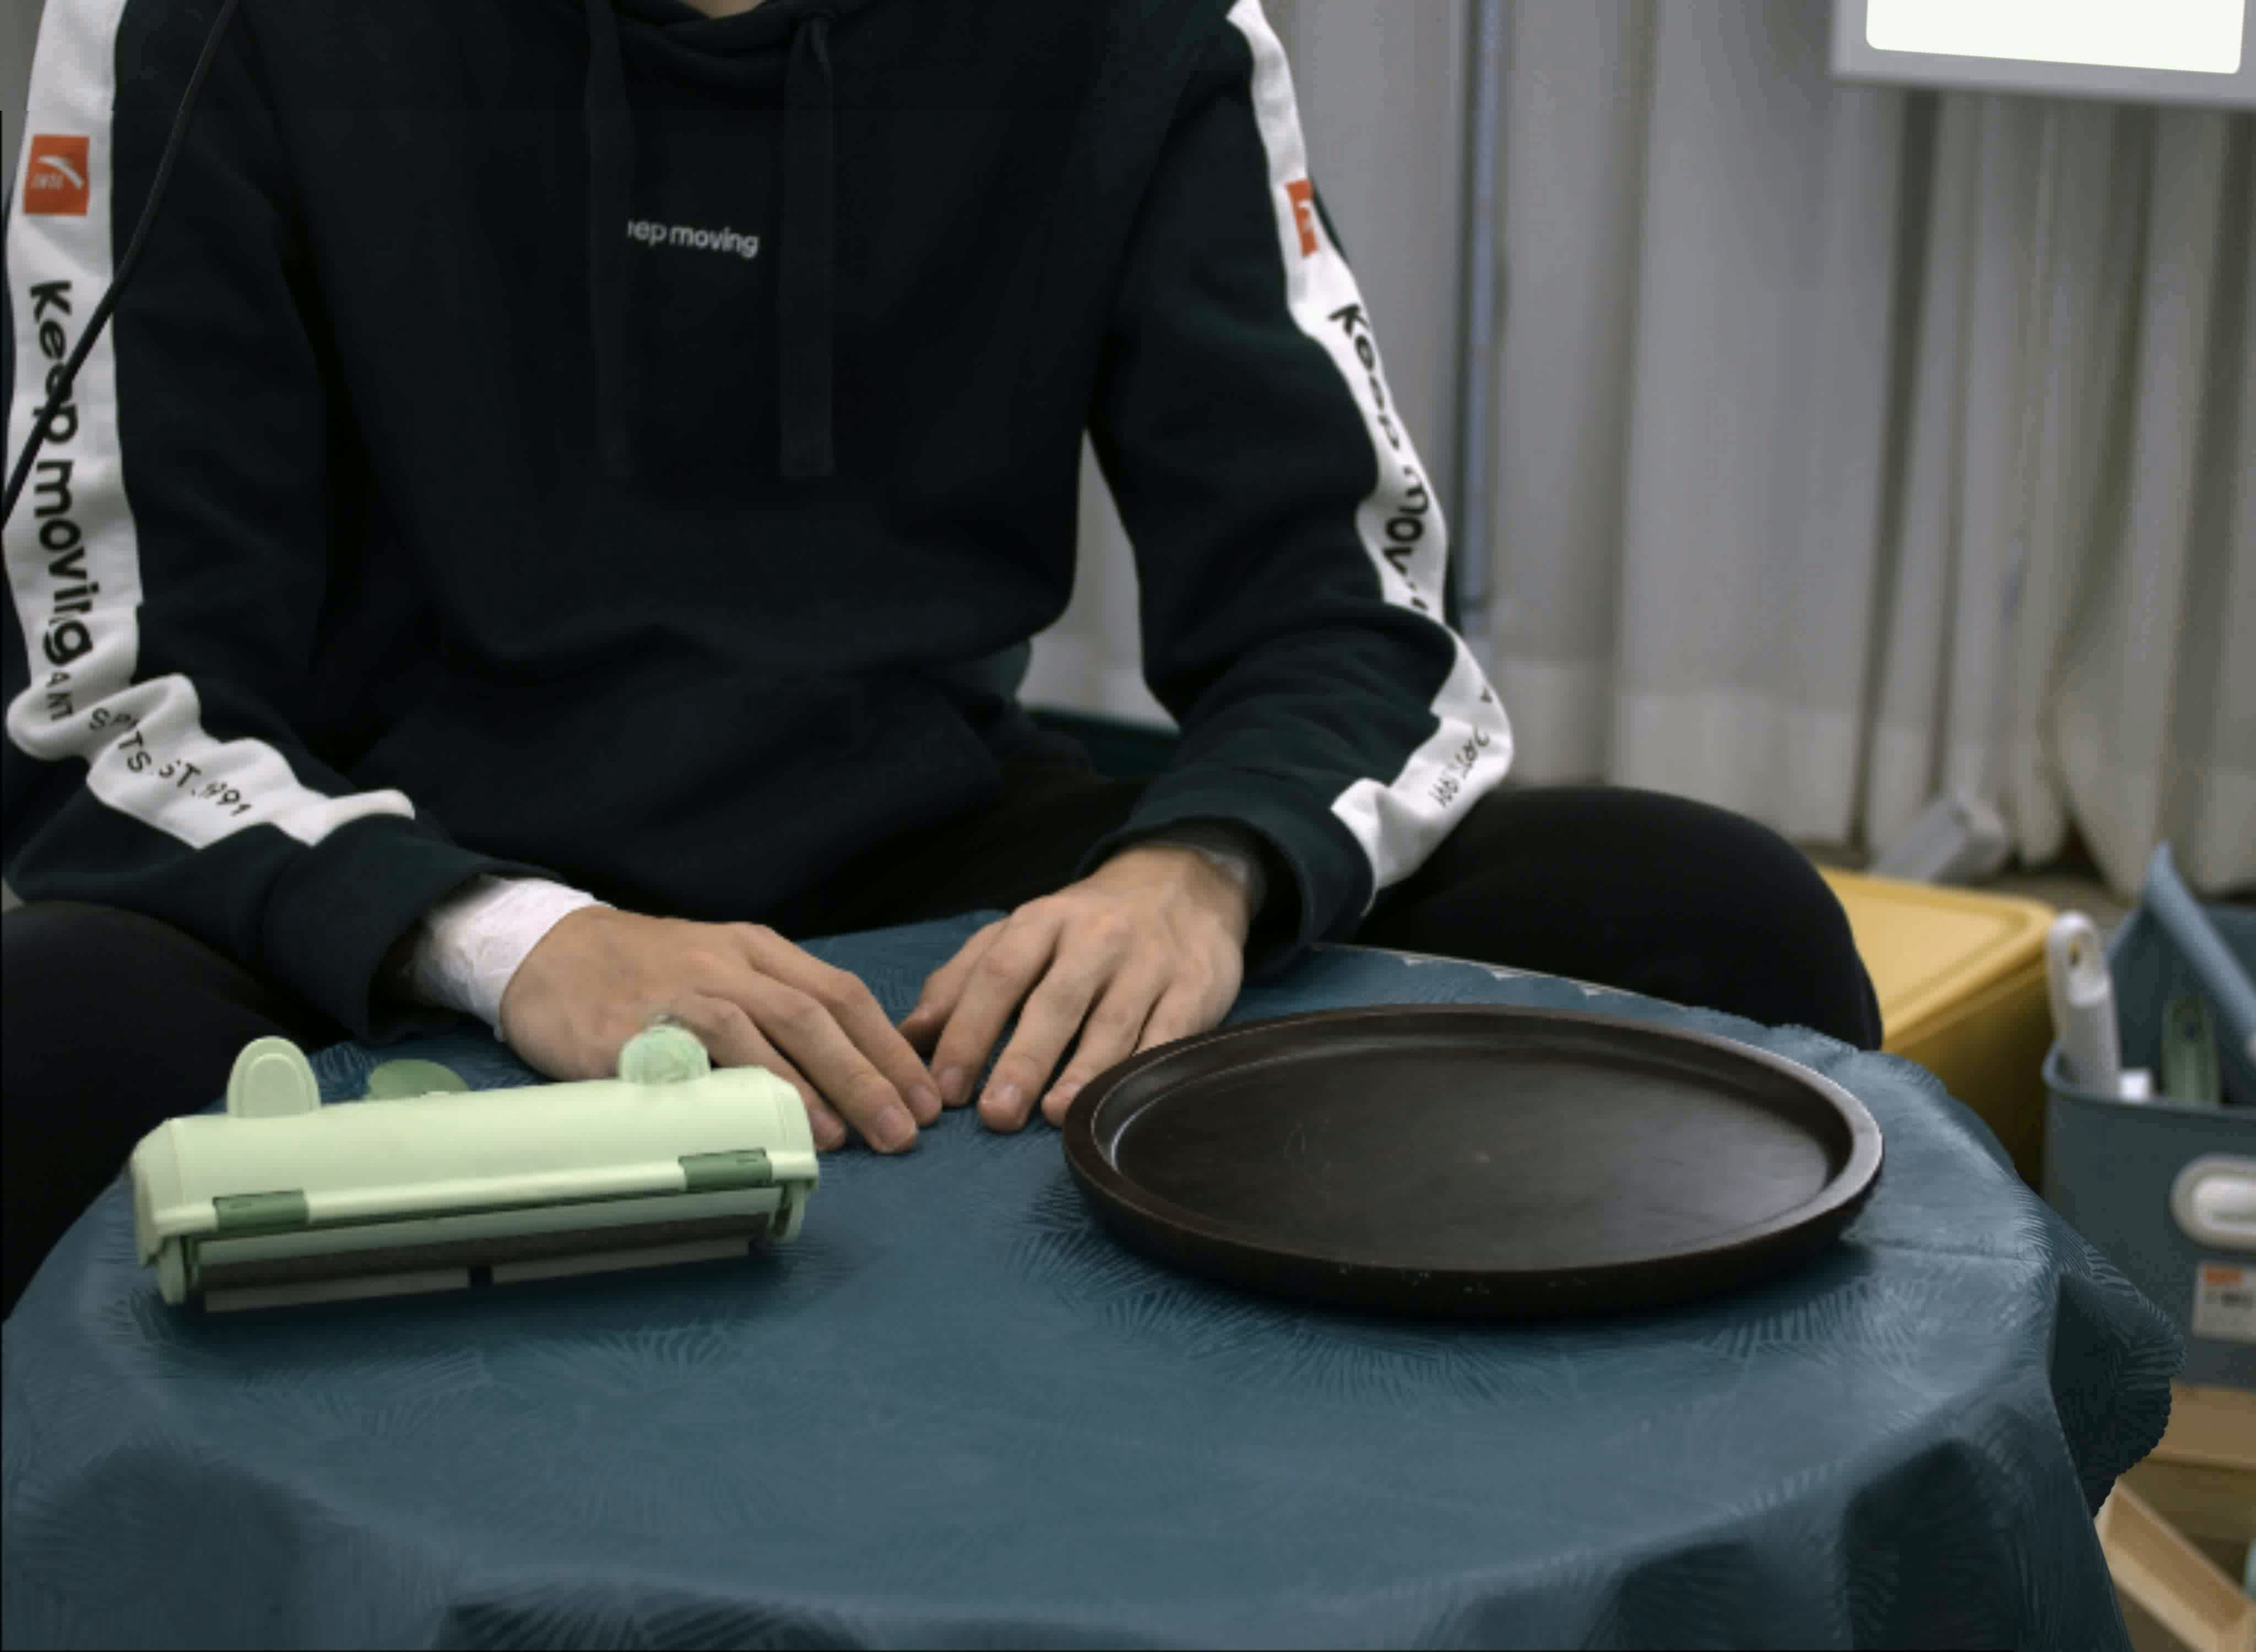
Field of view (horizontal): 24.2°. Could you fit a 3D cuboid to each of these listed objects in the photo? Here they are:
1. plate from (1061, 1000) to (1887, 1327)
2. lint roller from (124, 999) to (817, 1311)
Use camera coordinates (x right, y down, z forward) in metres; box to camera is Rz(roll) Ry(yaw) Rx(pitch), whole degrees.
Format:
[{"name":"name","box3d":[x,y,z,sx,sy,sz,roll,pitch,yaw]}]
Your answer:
[{"name":"plate","box3d":[0.105,0.102,1.615,0.254,0.029,0.253,0,17,1]},{"name":"lint roller","box3d":[-0.207,0.080,1.578,0.199,0.083,0.181,-5,20,-17]}]
